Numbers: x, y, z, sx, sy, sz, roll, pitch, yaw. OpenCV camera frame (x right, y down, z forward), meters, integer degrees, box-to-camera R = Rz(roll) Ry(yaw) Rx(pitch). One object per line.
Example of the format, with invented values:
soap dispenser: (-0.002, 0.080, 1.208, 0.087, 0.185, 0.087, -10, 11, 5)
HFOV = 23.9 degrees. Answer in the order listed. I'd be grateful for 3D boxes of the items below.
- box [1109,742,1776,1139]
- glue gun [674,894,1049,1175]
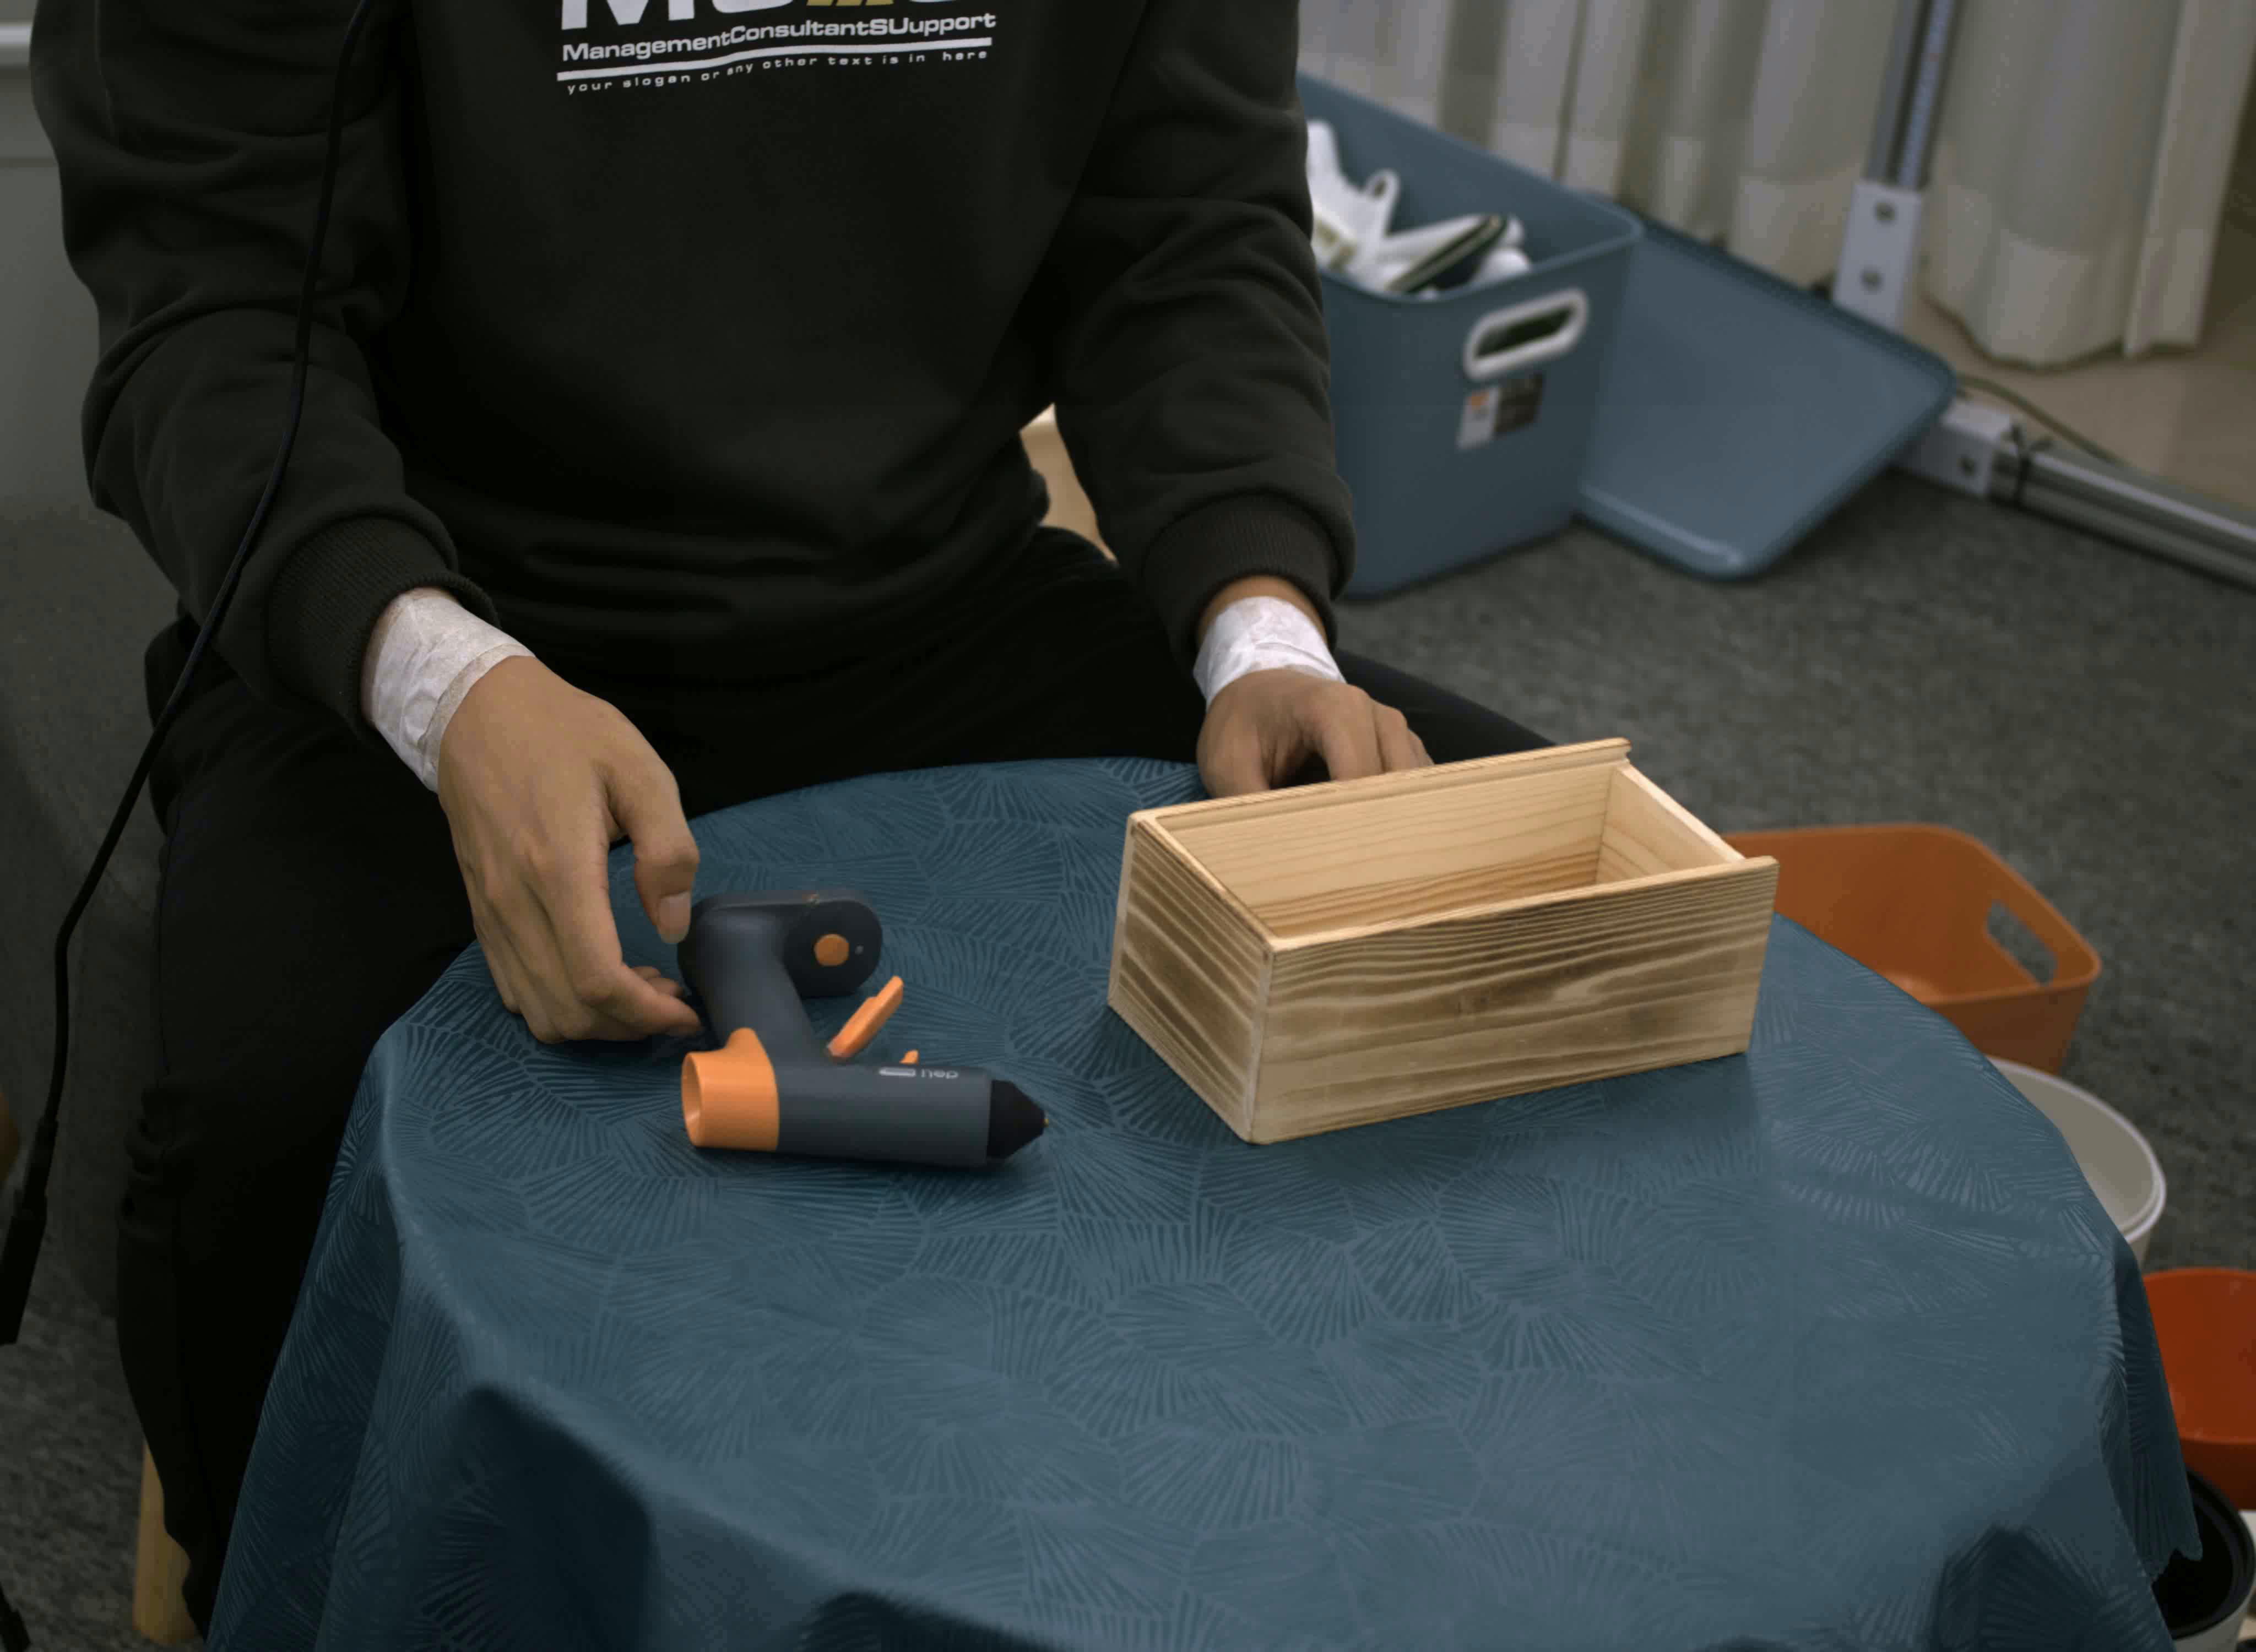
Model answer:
box: (0.113, 0.039, 1.916, 0.210, 0.080, 0.108, -8, 30, -28)
glue gun: (-0.100, 0.076, 1.847, 0.117, 0.041, 0.141, -1, 30, -19)
